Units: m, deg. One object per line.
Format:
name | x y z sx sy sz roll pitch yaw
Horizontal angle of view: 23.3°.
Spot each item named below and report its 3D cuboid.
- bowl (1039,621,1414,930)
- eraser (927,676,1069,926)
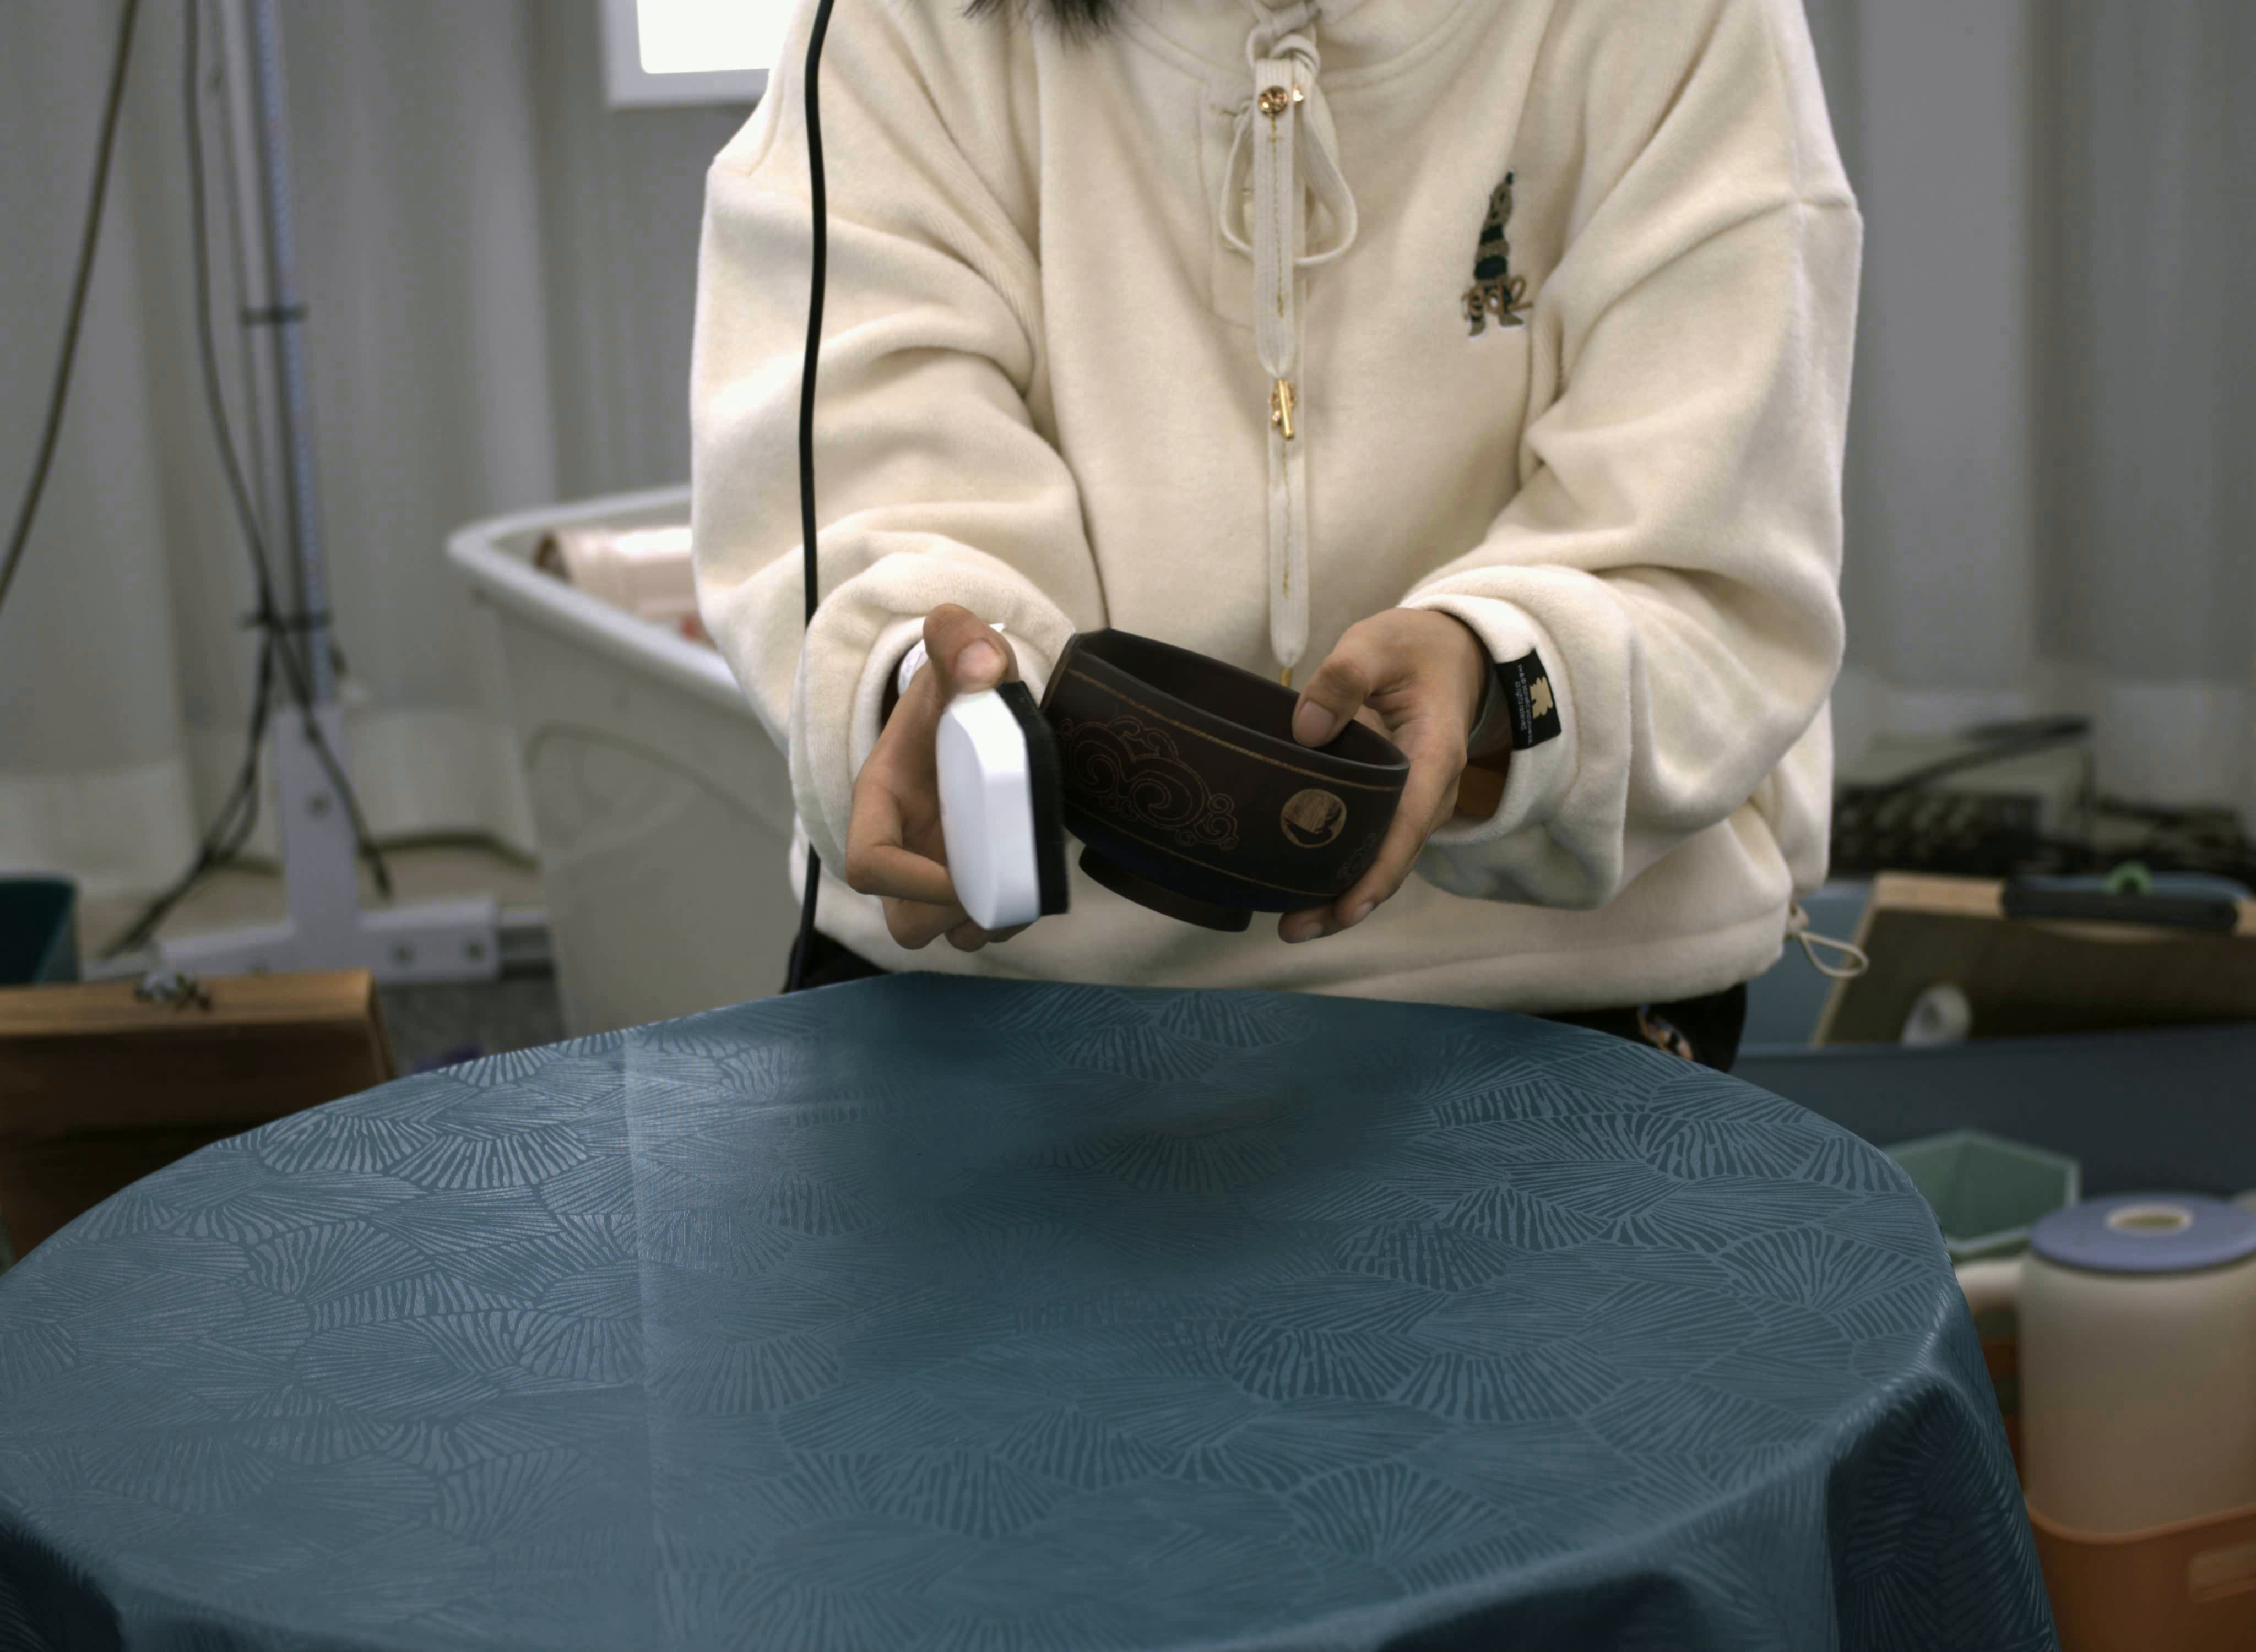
bowl | 0.024 -0.010 1.711 0.117 0.070 0.118 23 9 -4
eraser | -0.041 -0.010 1.660 0.034 0.063 0.132 -4 10 -6
